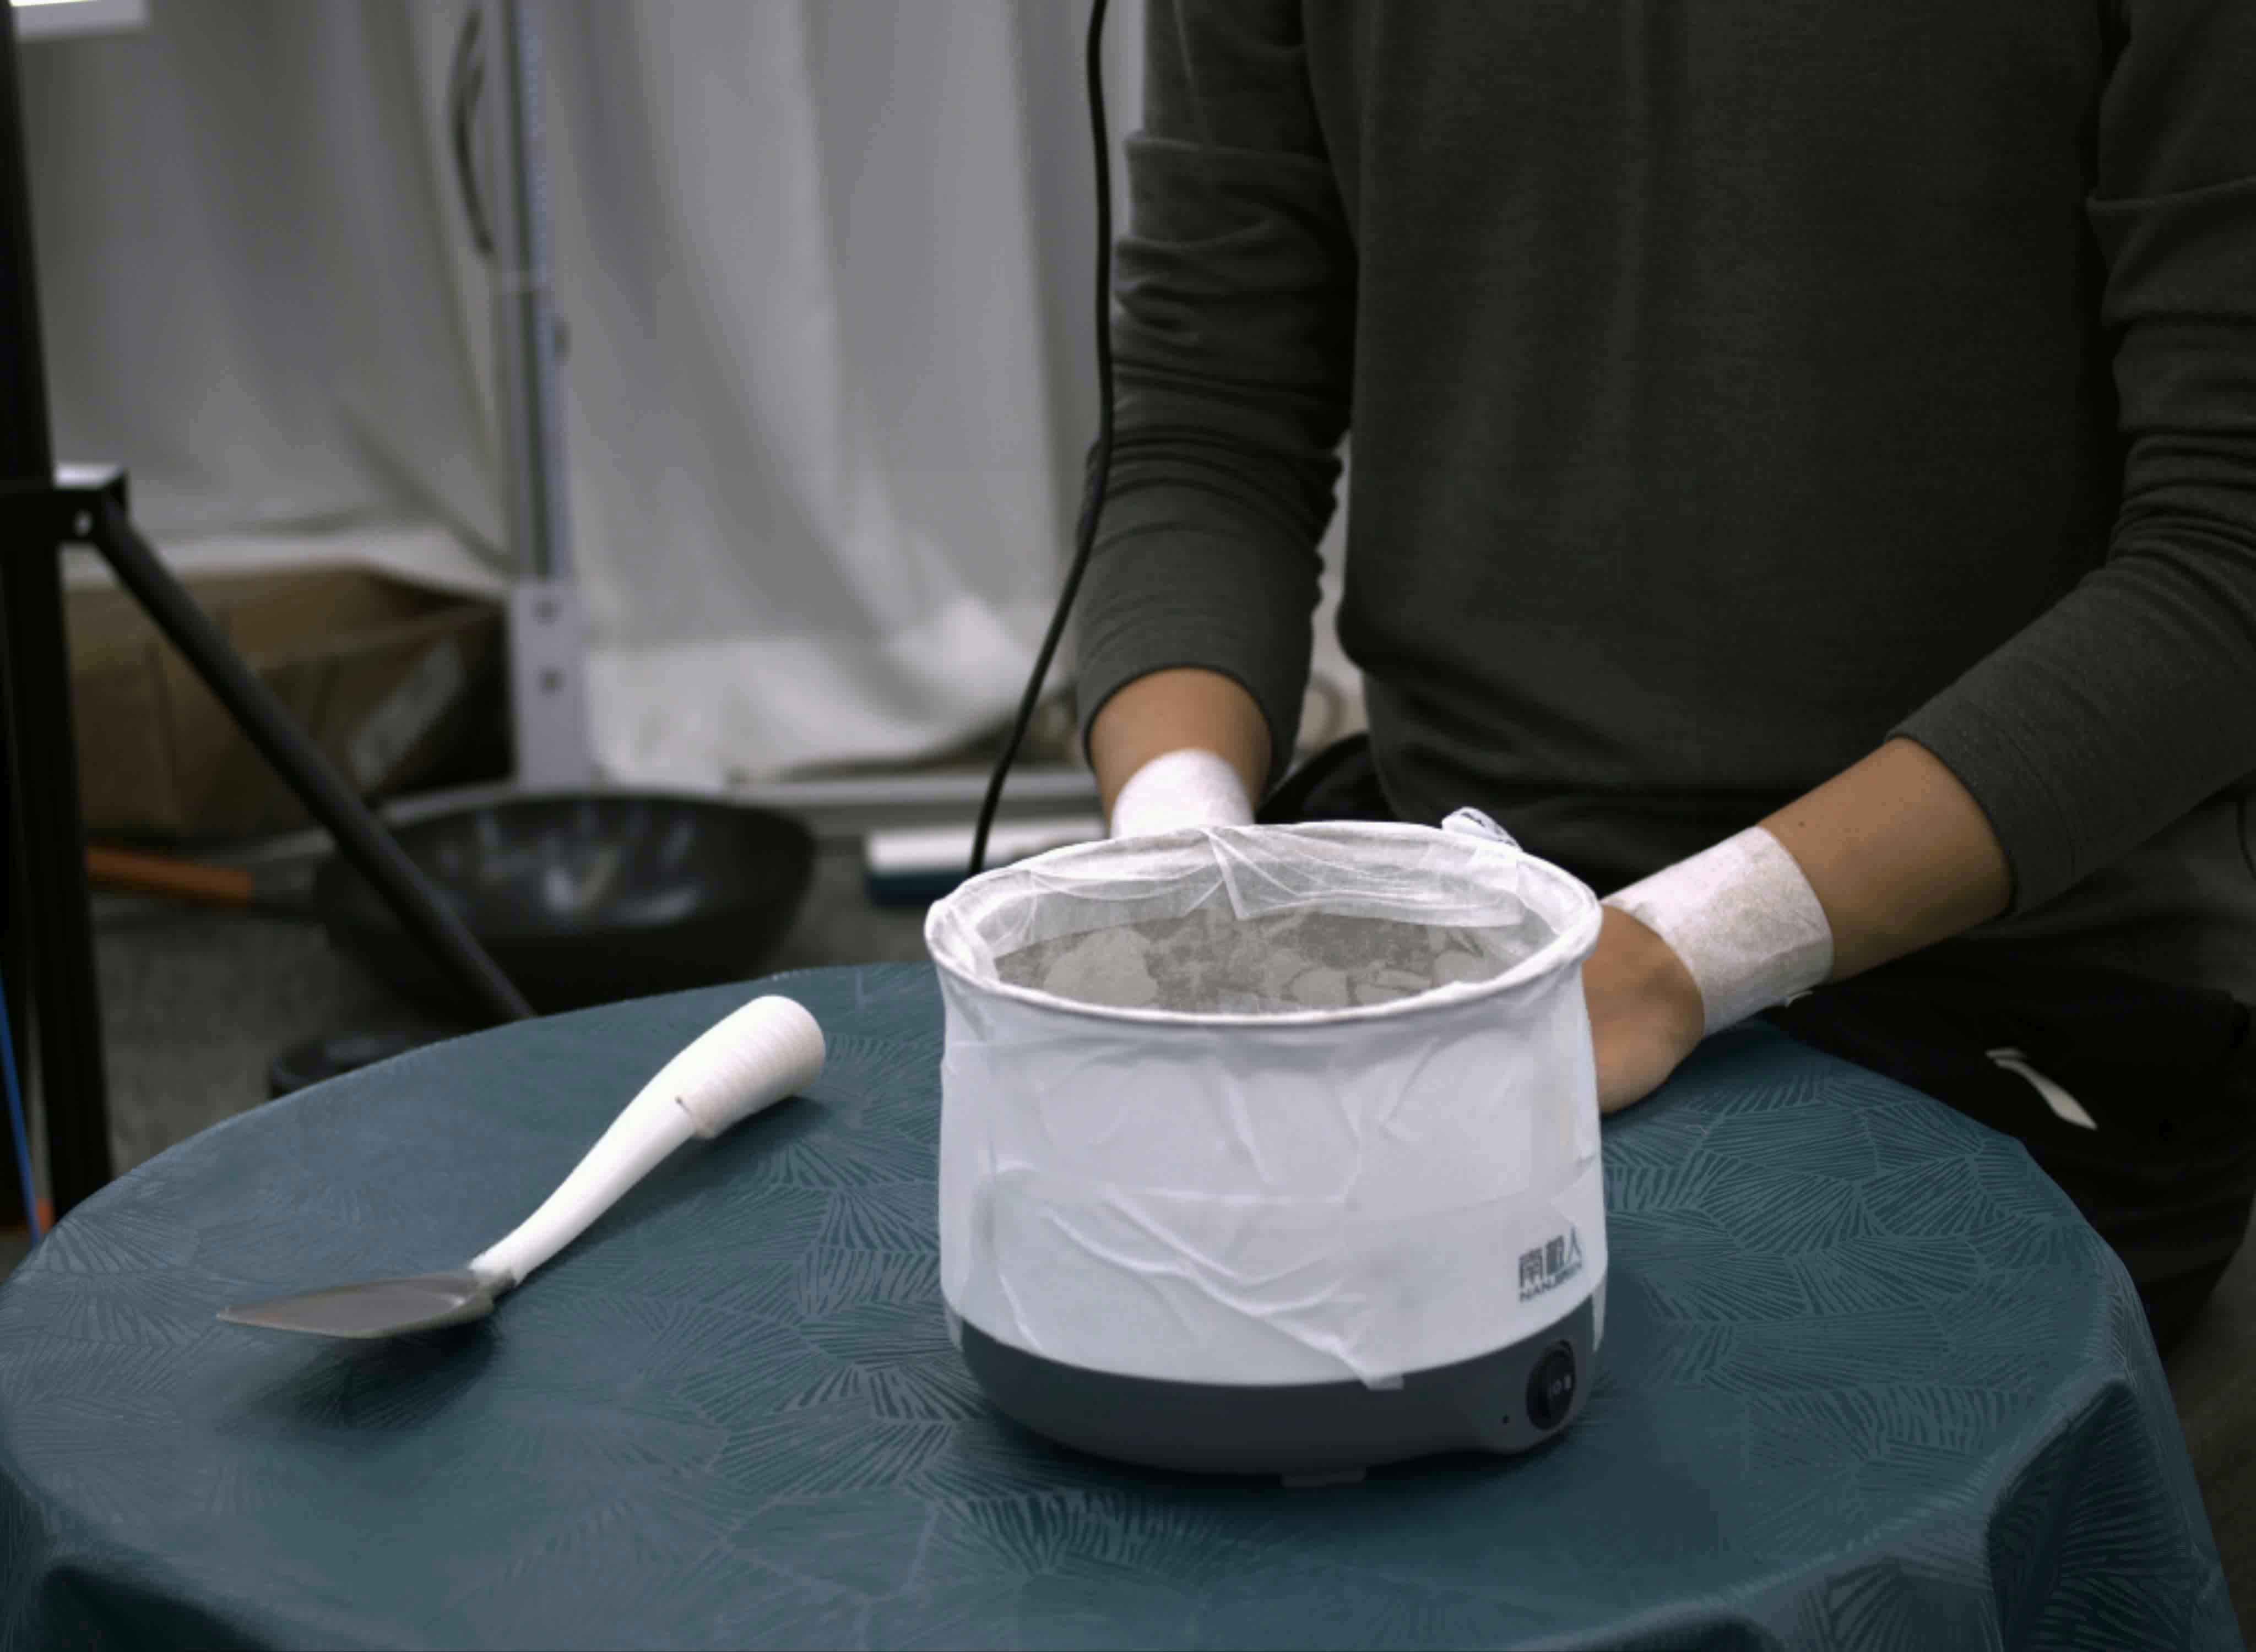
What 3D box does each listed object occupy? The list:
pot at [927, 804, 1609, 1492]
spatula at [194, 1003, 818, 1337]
[{"bbox_3d":[0.054,0.077,1.410,0.182,0.136,0.229,9,19,35],"label":"pot"},{"bbox_3d":[-0.168,0.106,1.536,0.059,0.032,0.283,9,18,23],"label":"spatula"}]
